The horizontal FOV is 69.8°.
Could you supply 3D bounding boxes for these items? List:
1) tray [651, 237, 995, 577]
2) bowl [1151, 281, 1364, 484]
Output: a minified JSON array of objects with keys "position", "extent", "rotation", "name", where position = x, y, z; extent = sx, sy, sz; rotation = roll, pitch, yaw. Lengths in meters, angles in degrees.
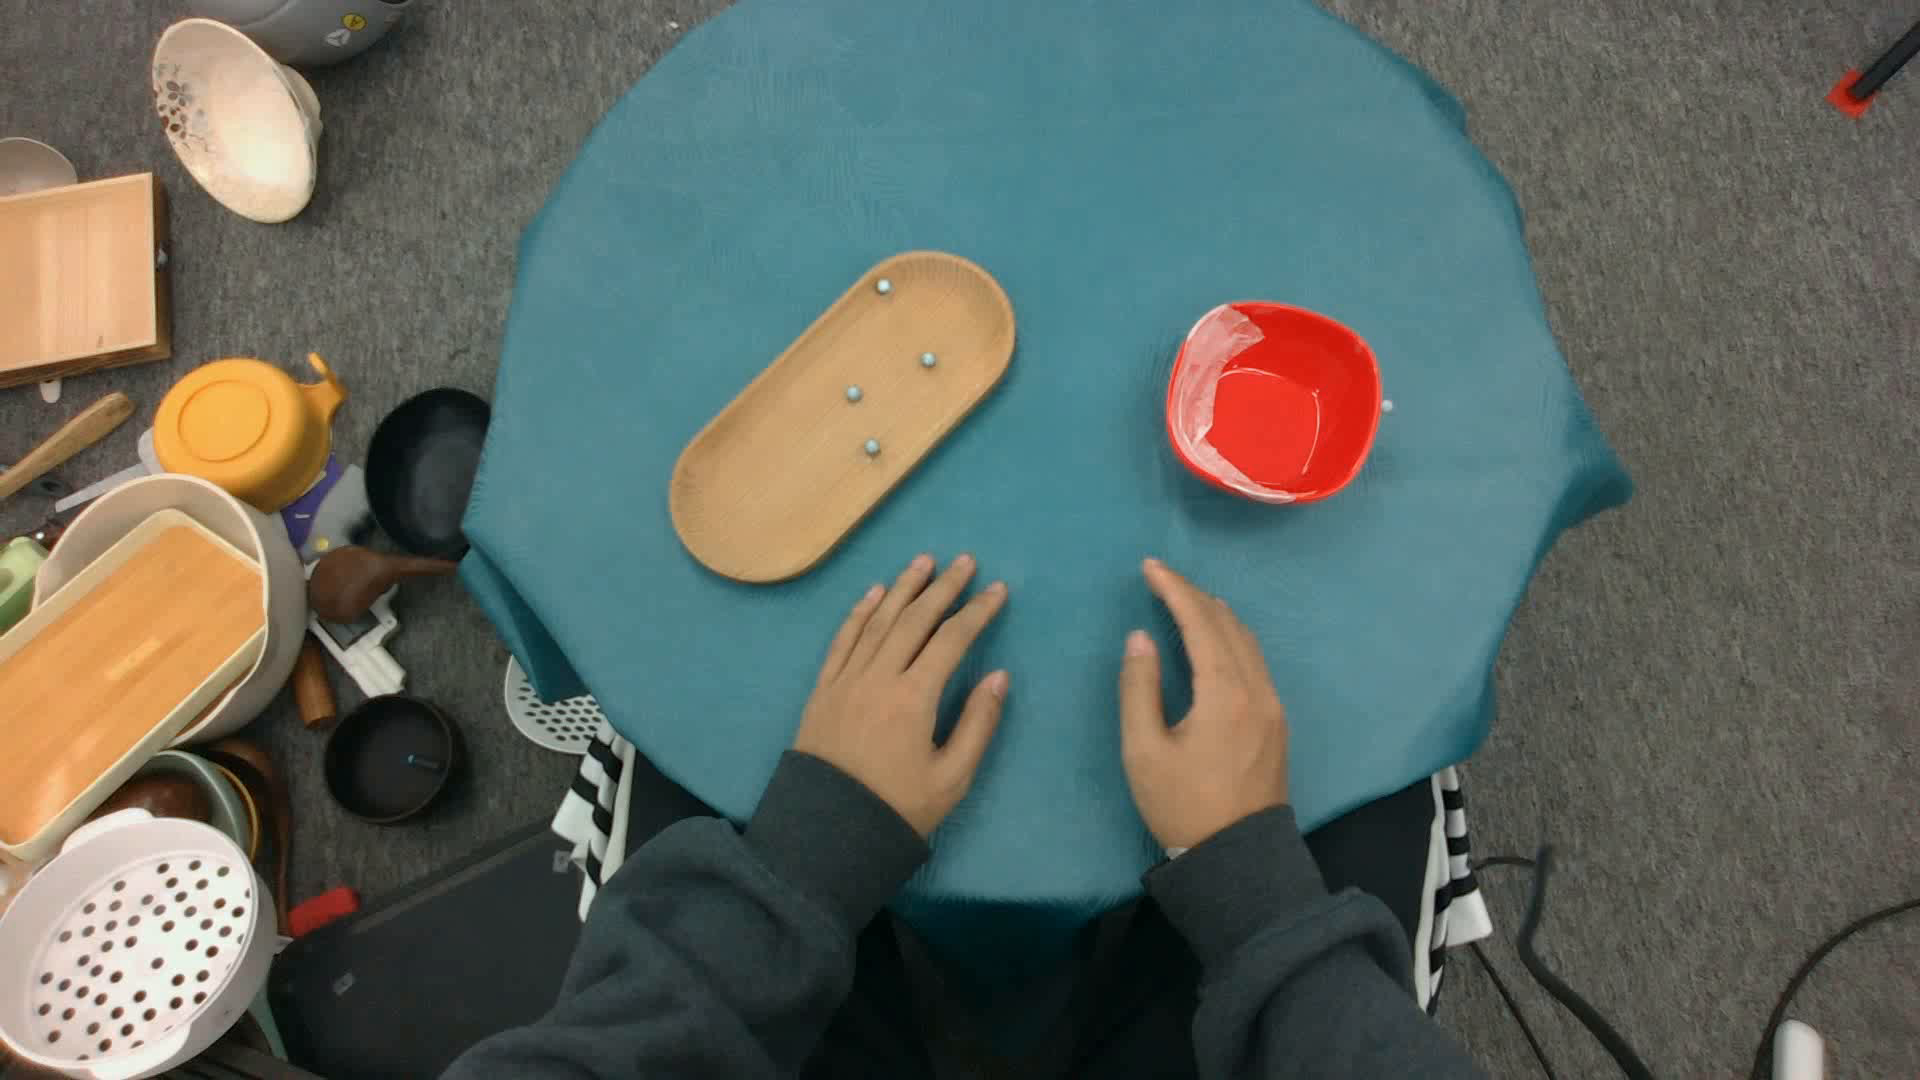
[{"position":[-0.074,-0.076,0.765],"extent":[0.102,0.020,0.231],"rotation":[39,78,12],"name":"tray"},{"position":[0.156,-0.078,0.746],"extent":[0.119,0.051,0.119],"rotation":[0,73,-1],"name":"bowl"}]
